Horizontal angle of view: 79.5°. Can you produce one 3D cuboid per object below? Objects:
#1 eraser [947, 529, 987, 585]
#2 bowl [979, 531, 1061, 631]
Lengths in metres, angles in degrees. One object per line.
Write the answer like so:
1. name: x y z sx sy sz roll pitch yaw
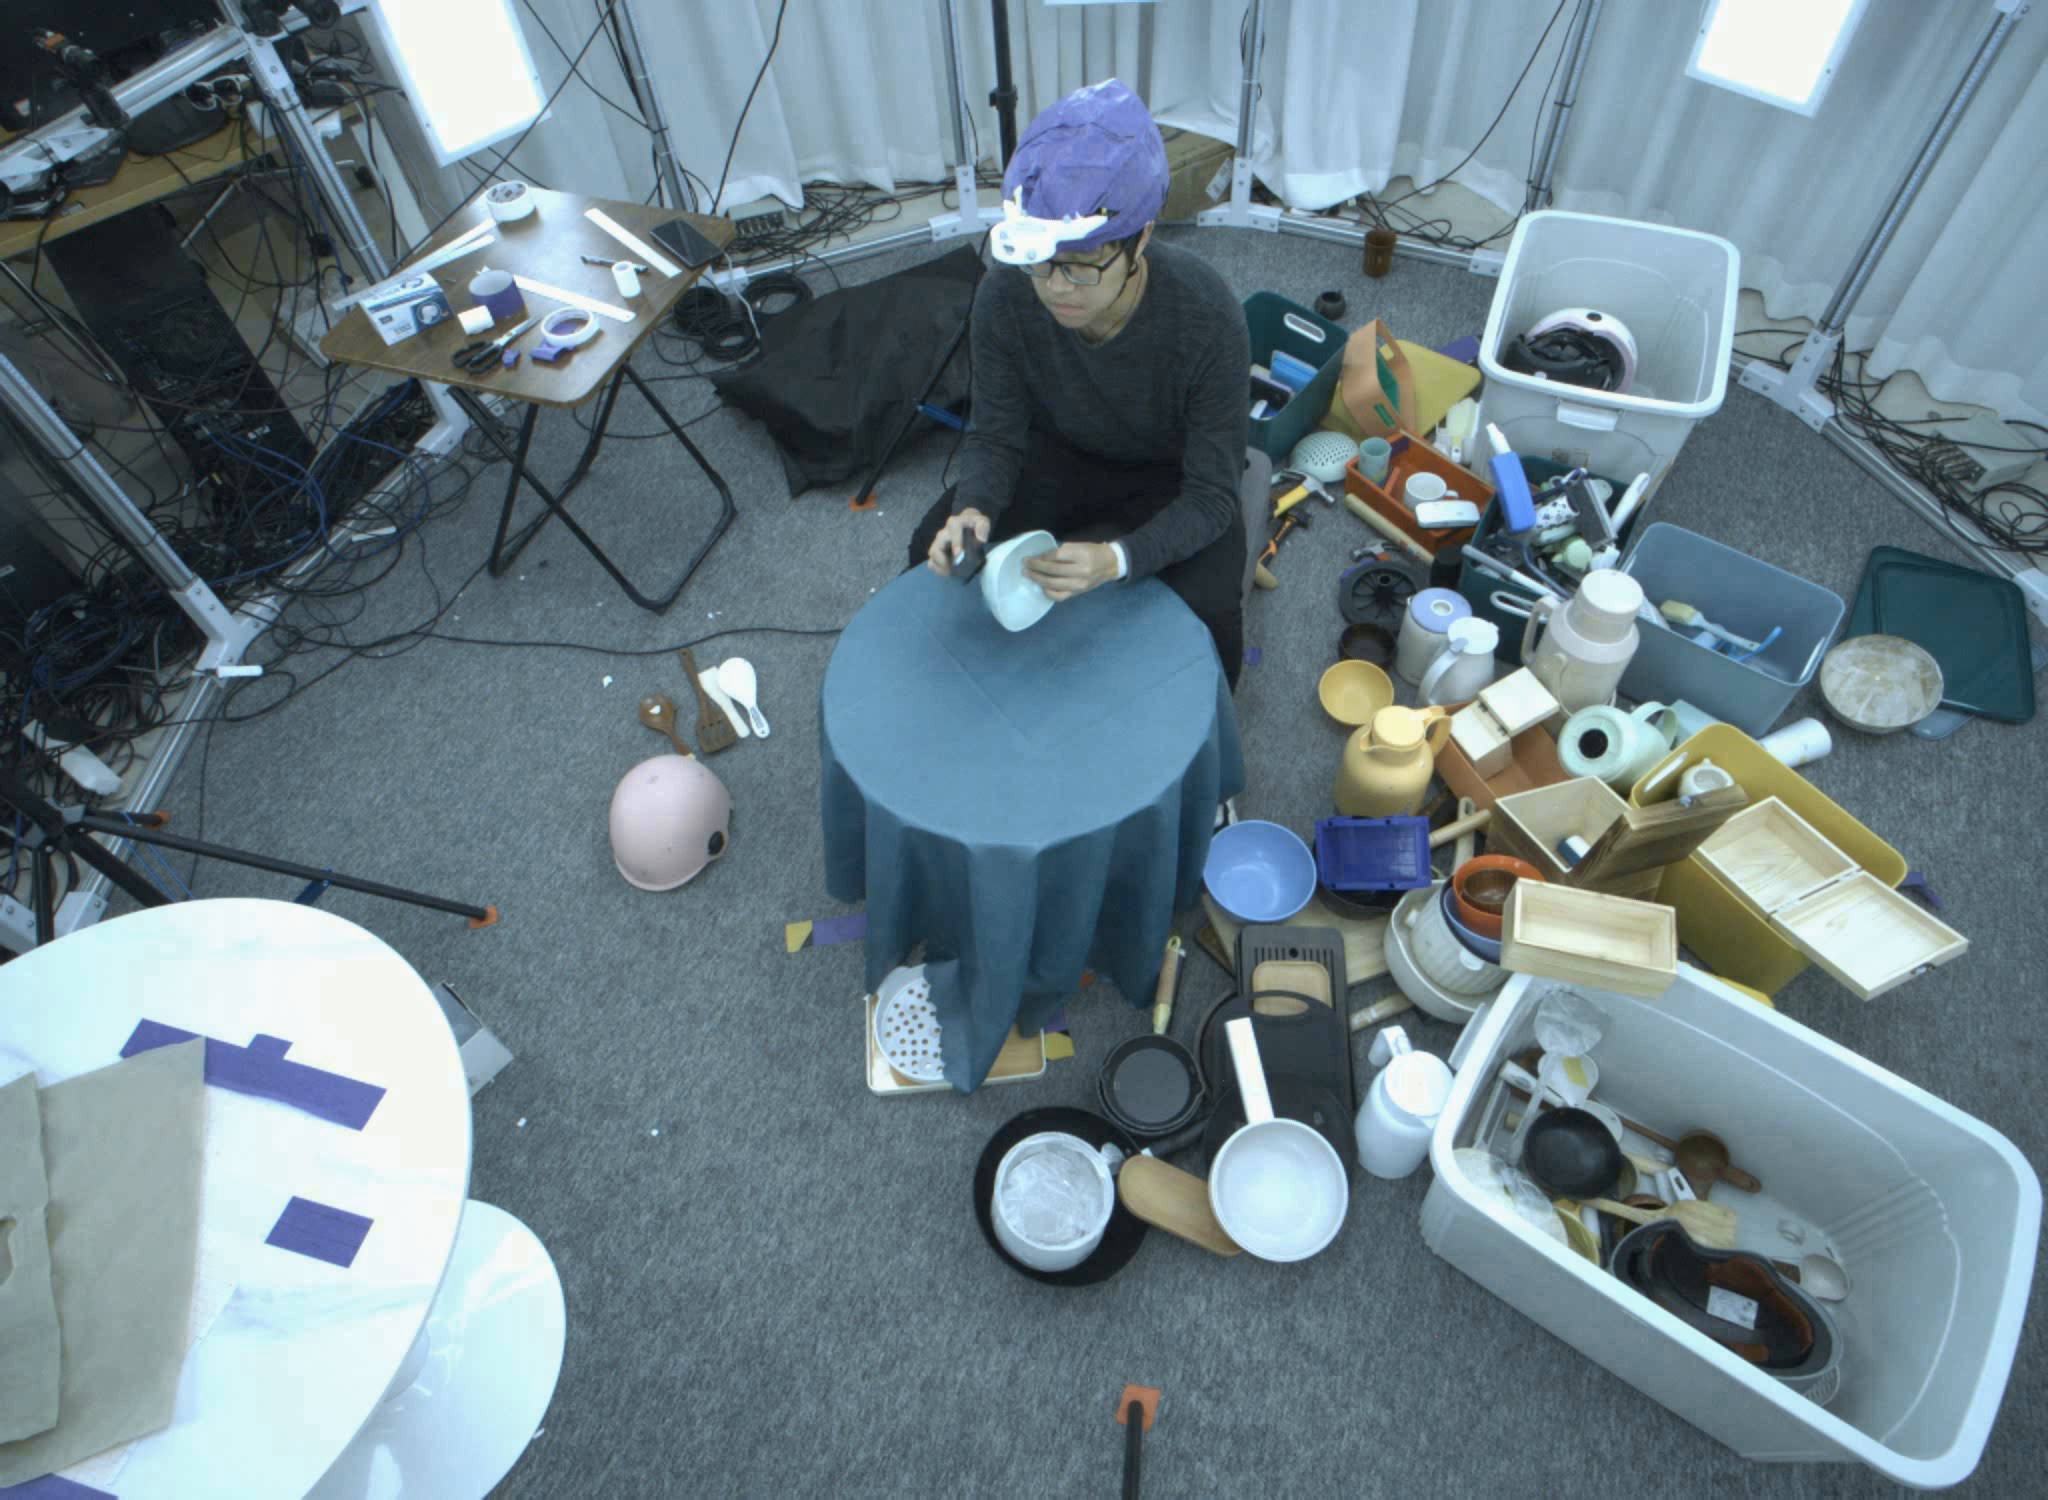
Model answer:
1. eraser: -0.085 -0.284 1.789 0.053 0.031 0.124 -46 22 14
2. bowl: -0.014 -0.253 1.786 0.057 0.154 0.152 26 60 36
